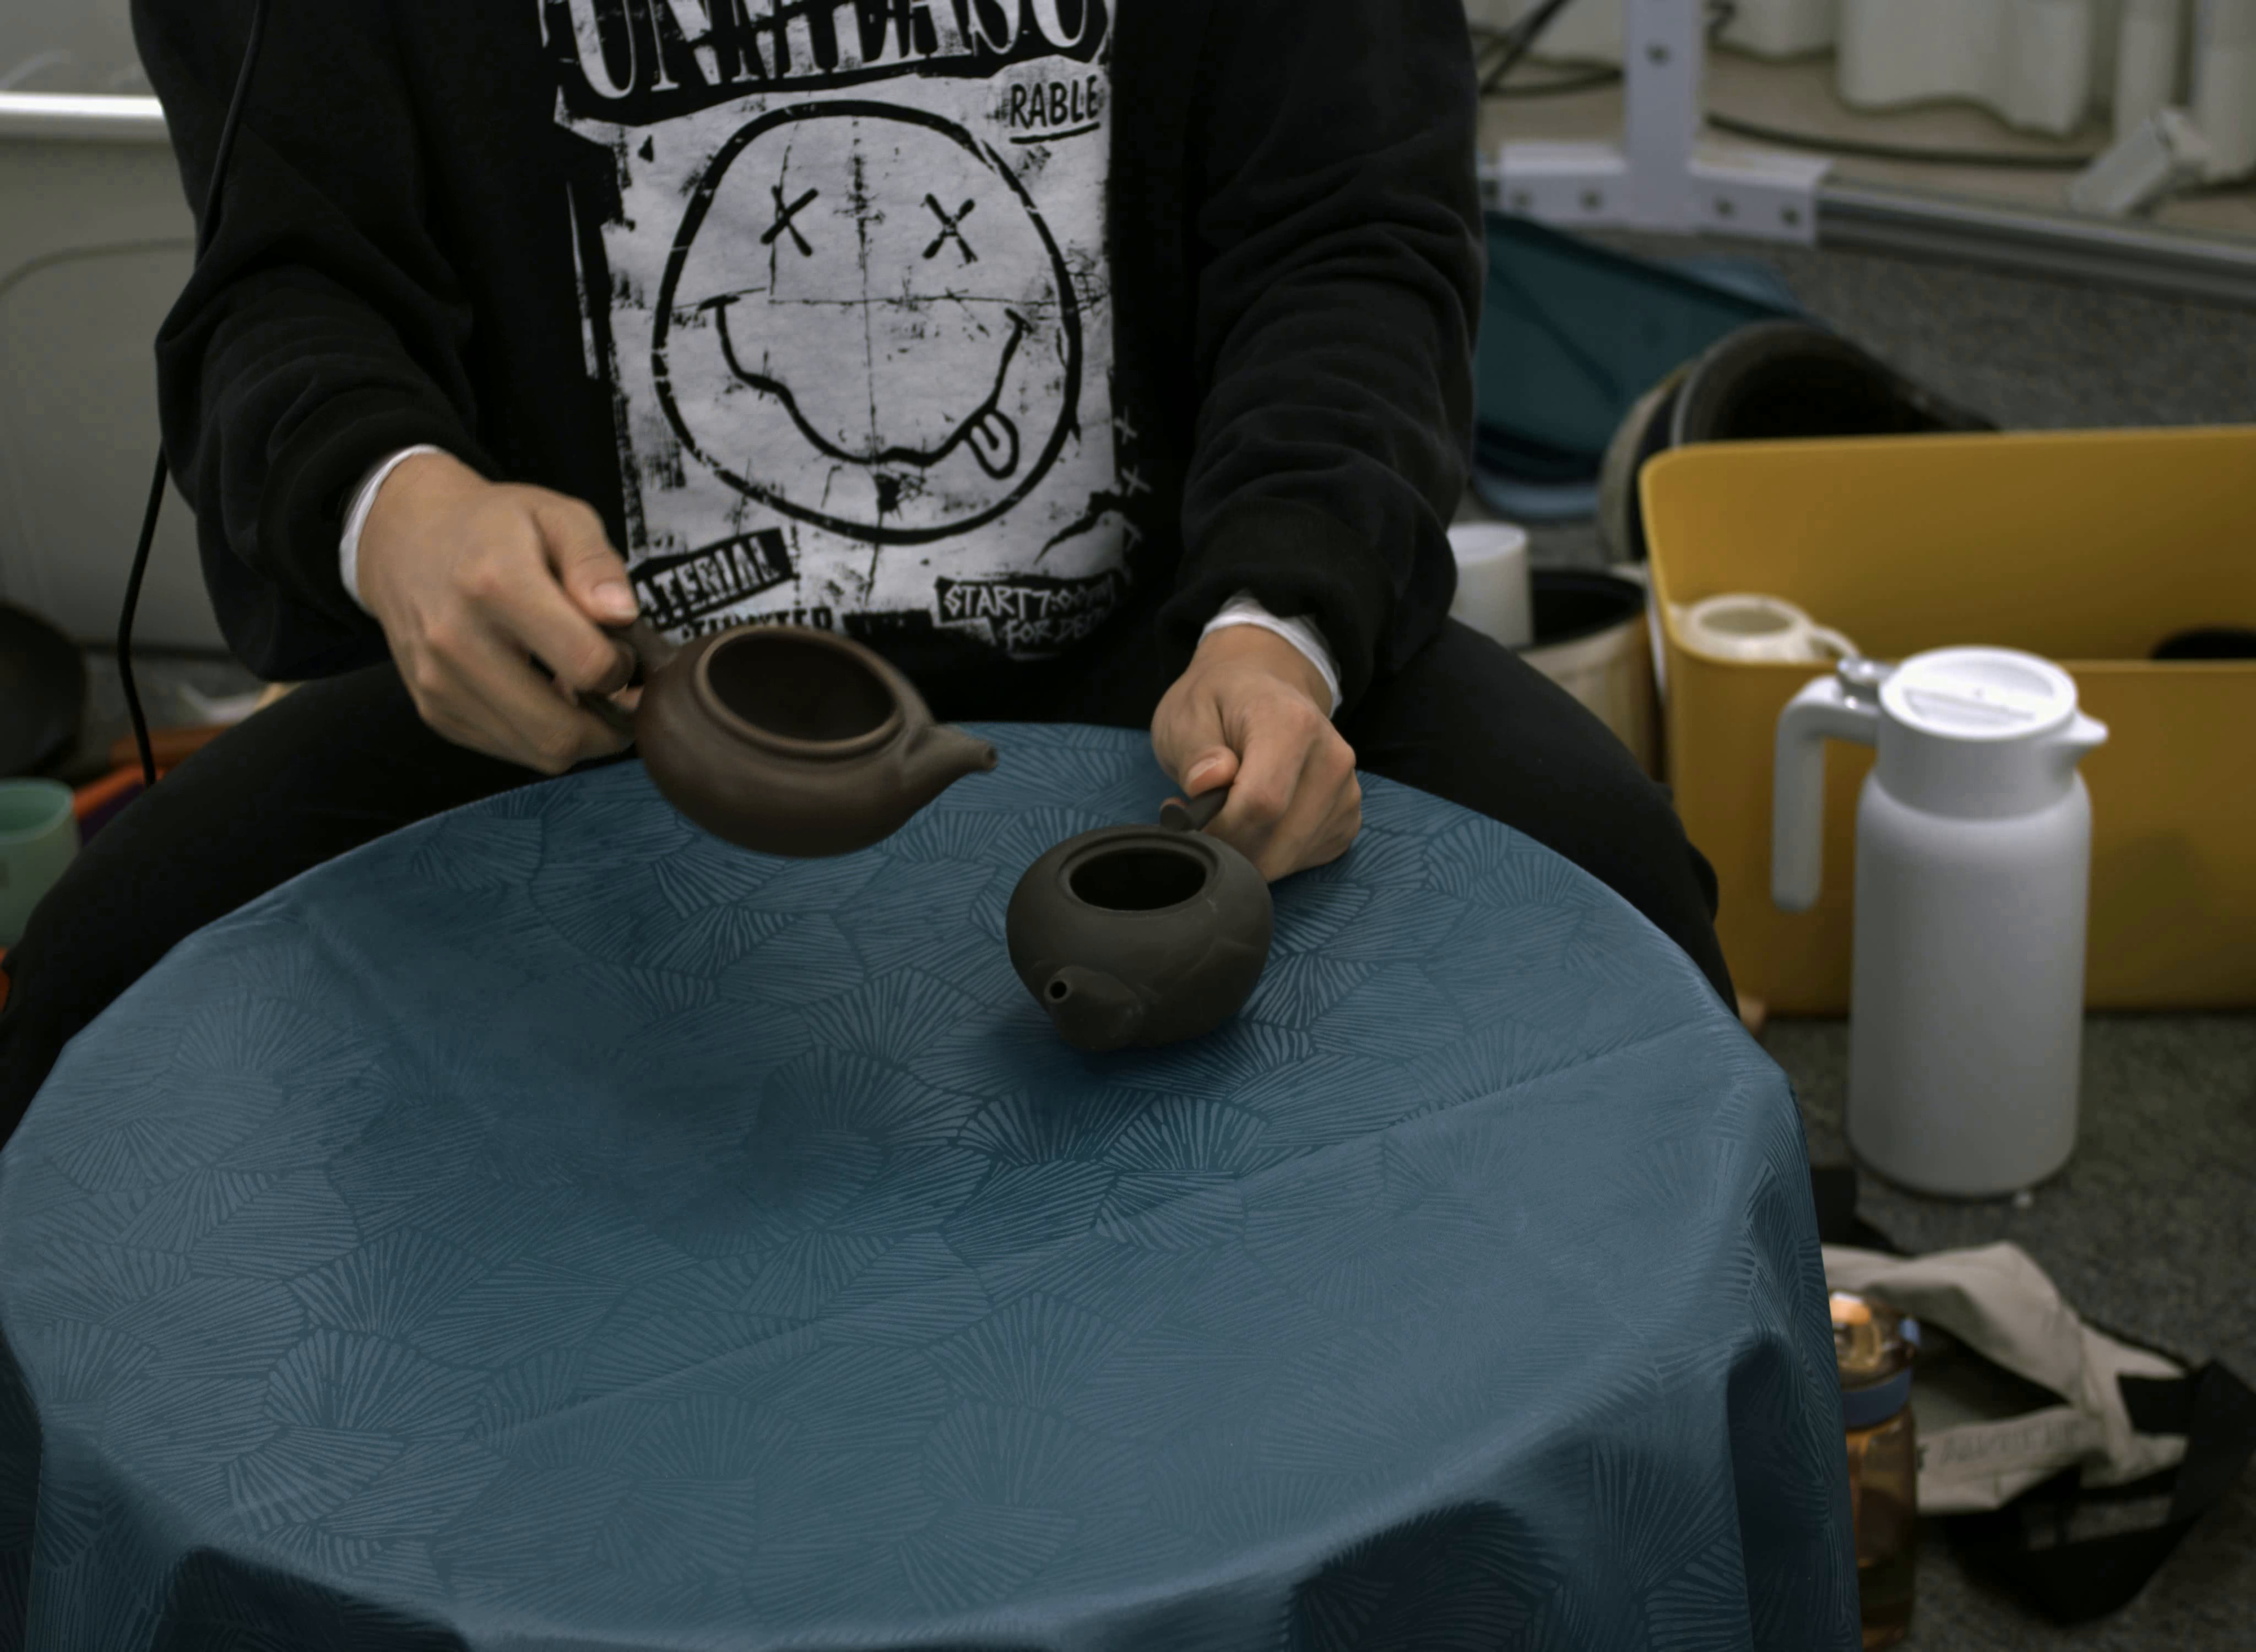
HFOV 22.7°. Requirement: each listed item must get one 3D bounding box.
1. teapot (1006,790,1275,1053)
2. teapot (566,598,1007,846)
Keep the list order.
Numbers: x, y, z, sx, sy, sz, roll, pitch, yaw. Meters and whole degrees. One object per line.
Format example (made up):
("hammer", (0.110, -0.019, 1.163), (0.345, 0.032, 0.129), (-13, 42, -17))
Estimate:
("teapot", (0.005, 0.037, 1.951), (0.092, 0.063, 0.157), (13, 34, 20))
("teapot", (-0.117, -0.036, 1.893), (0.153, 0.053, 0.104), (19, 32, 2))
